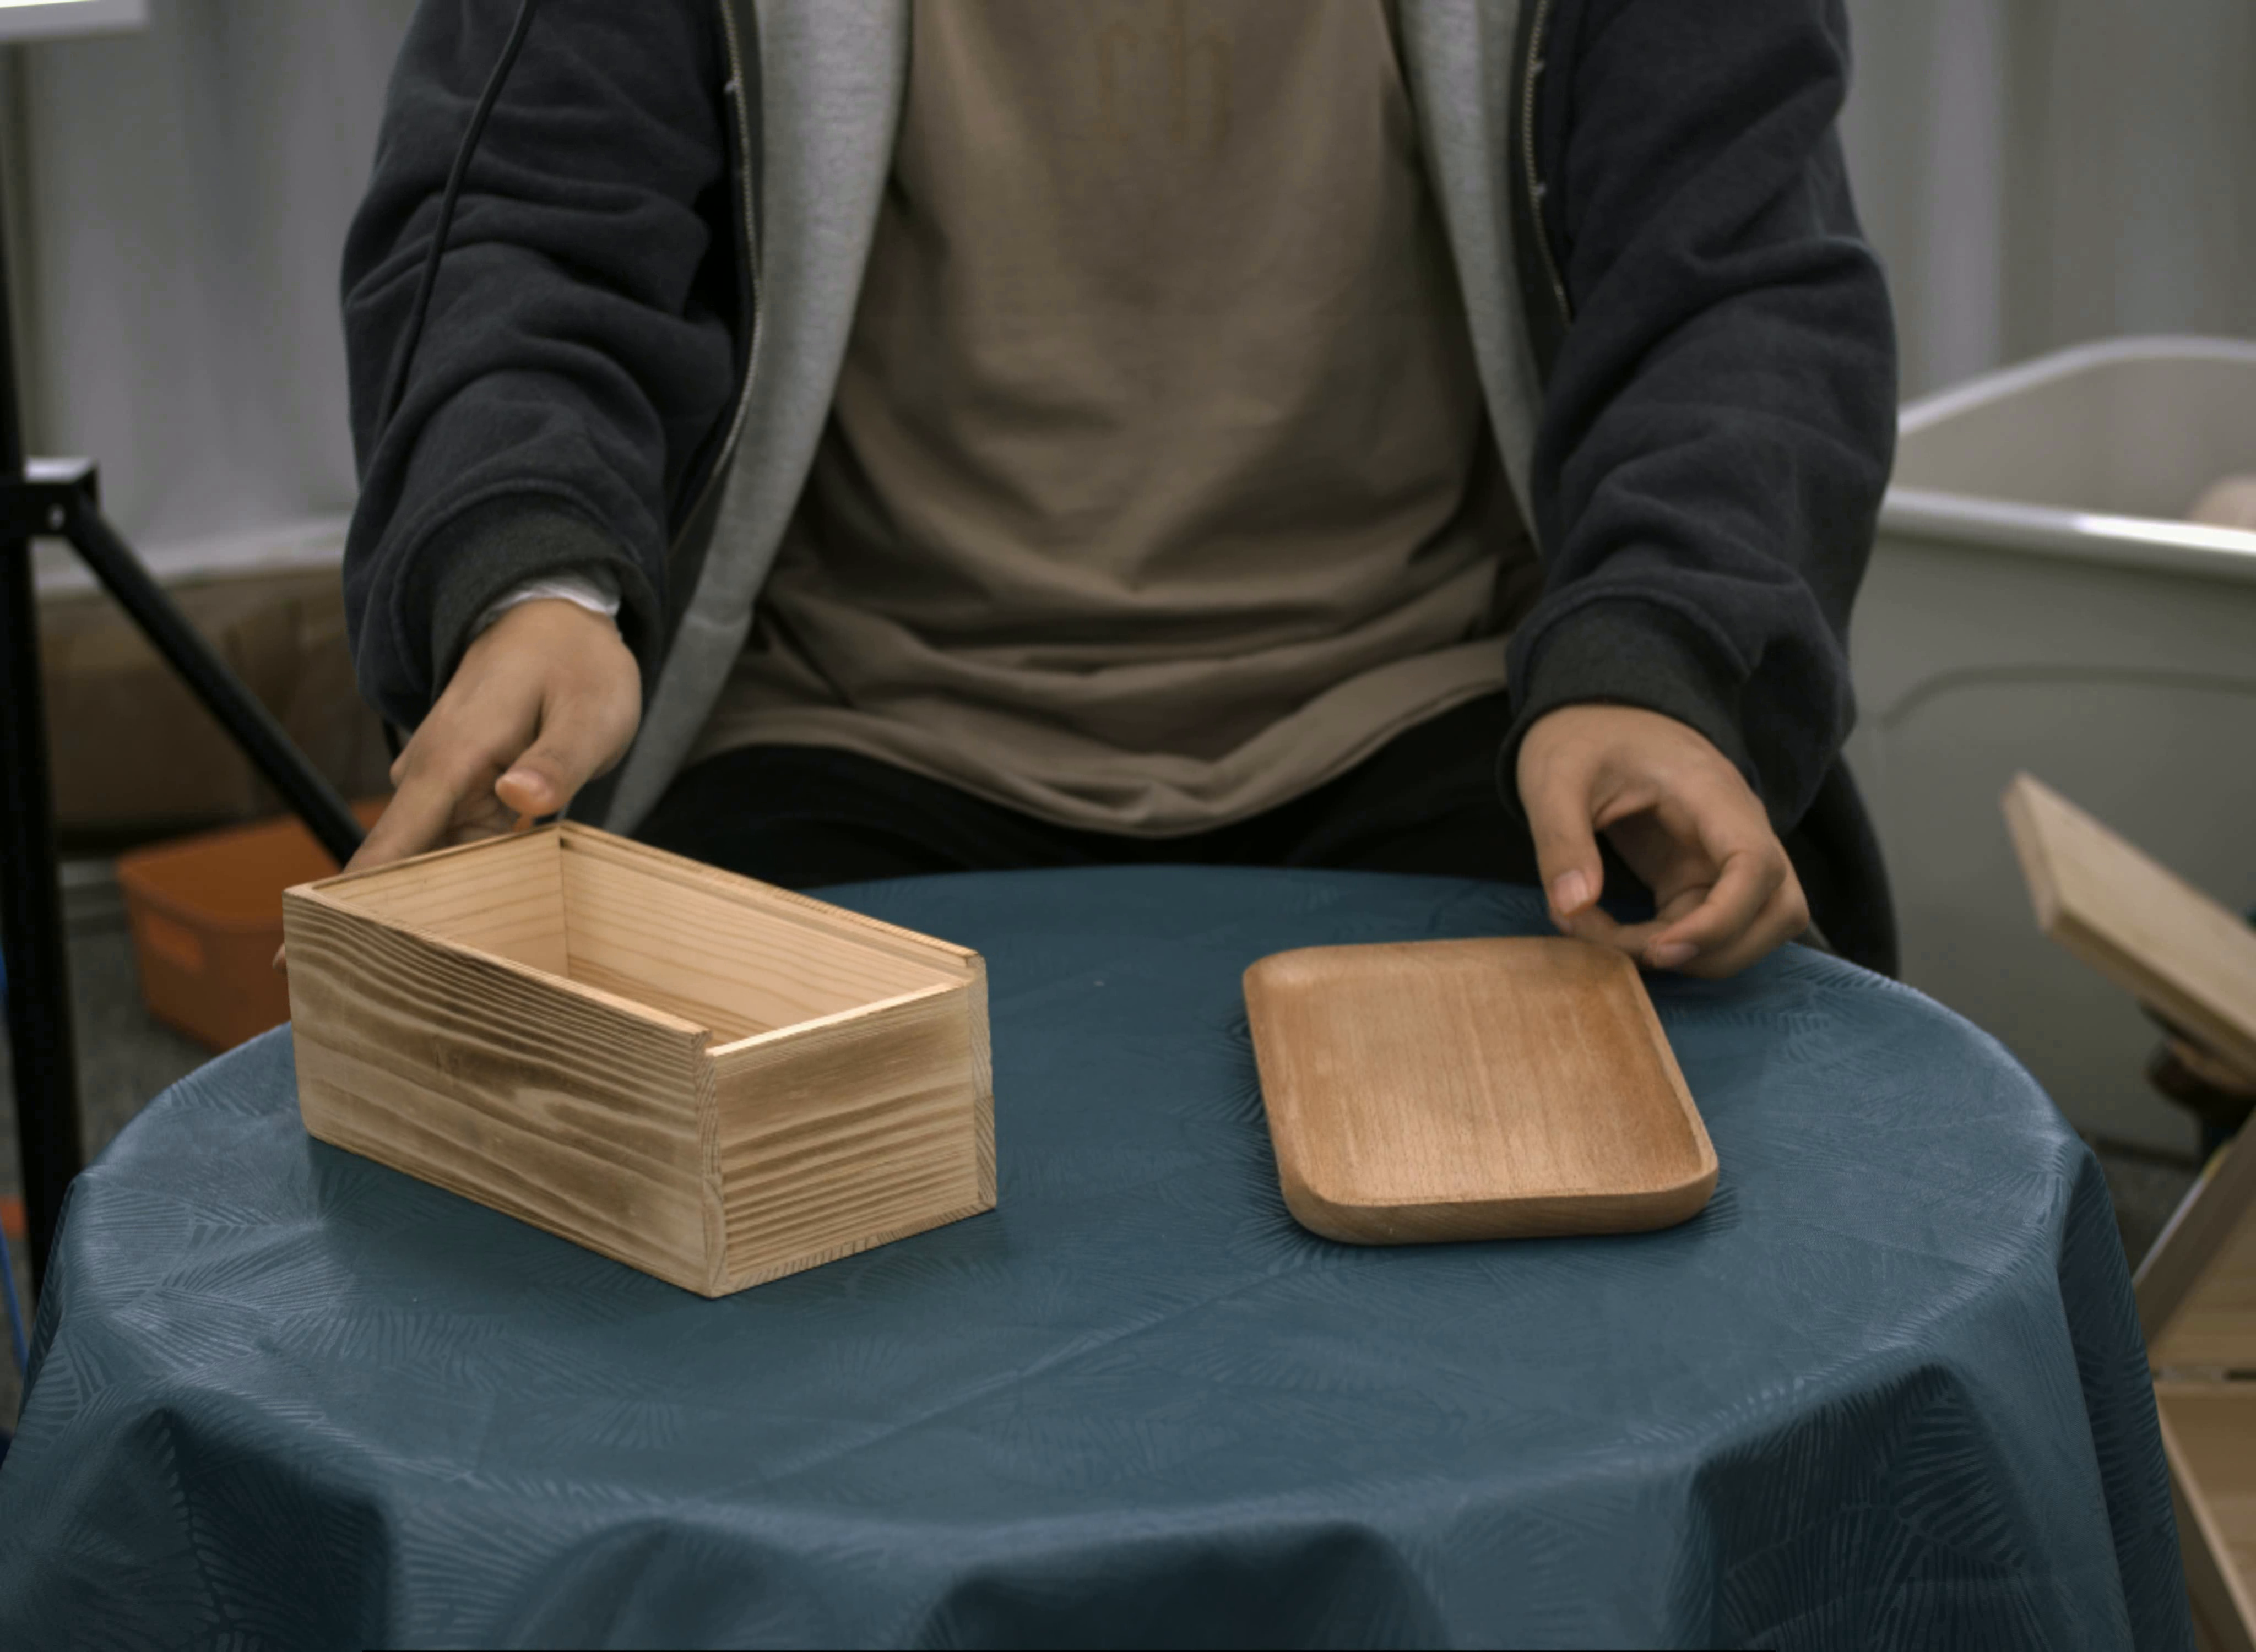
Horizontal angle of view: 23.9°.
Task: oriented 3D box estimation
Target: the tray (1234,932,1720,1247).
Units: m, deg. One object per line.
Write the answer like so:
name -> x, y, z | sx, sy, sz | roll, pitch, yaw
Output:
tray -> 0.102, 0.078, 1.617 | 0.130, 0.023, 0.252 | 0, 15, -1

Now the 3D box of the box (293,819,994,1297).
box -> -0.147, 0.065, 1.592 | 0.105, 0.080, 0.216 | -15, 20, -37
